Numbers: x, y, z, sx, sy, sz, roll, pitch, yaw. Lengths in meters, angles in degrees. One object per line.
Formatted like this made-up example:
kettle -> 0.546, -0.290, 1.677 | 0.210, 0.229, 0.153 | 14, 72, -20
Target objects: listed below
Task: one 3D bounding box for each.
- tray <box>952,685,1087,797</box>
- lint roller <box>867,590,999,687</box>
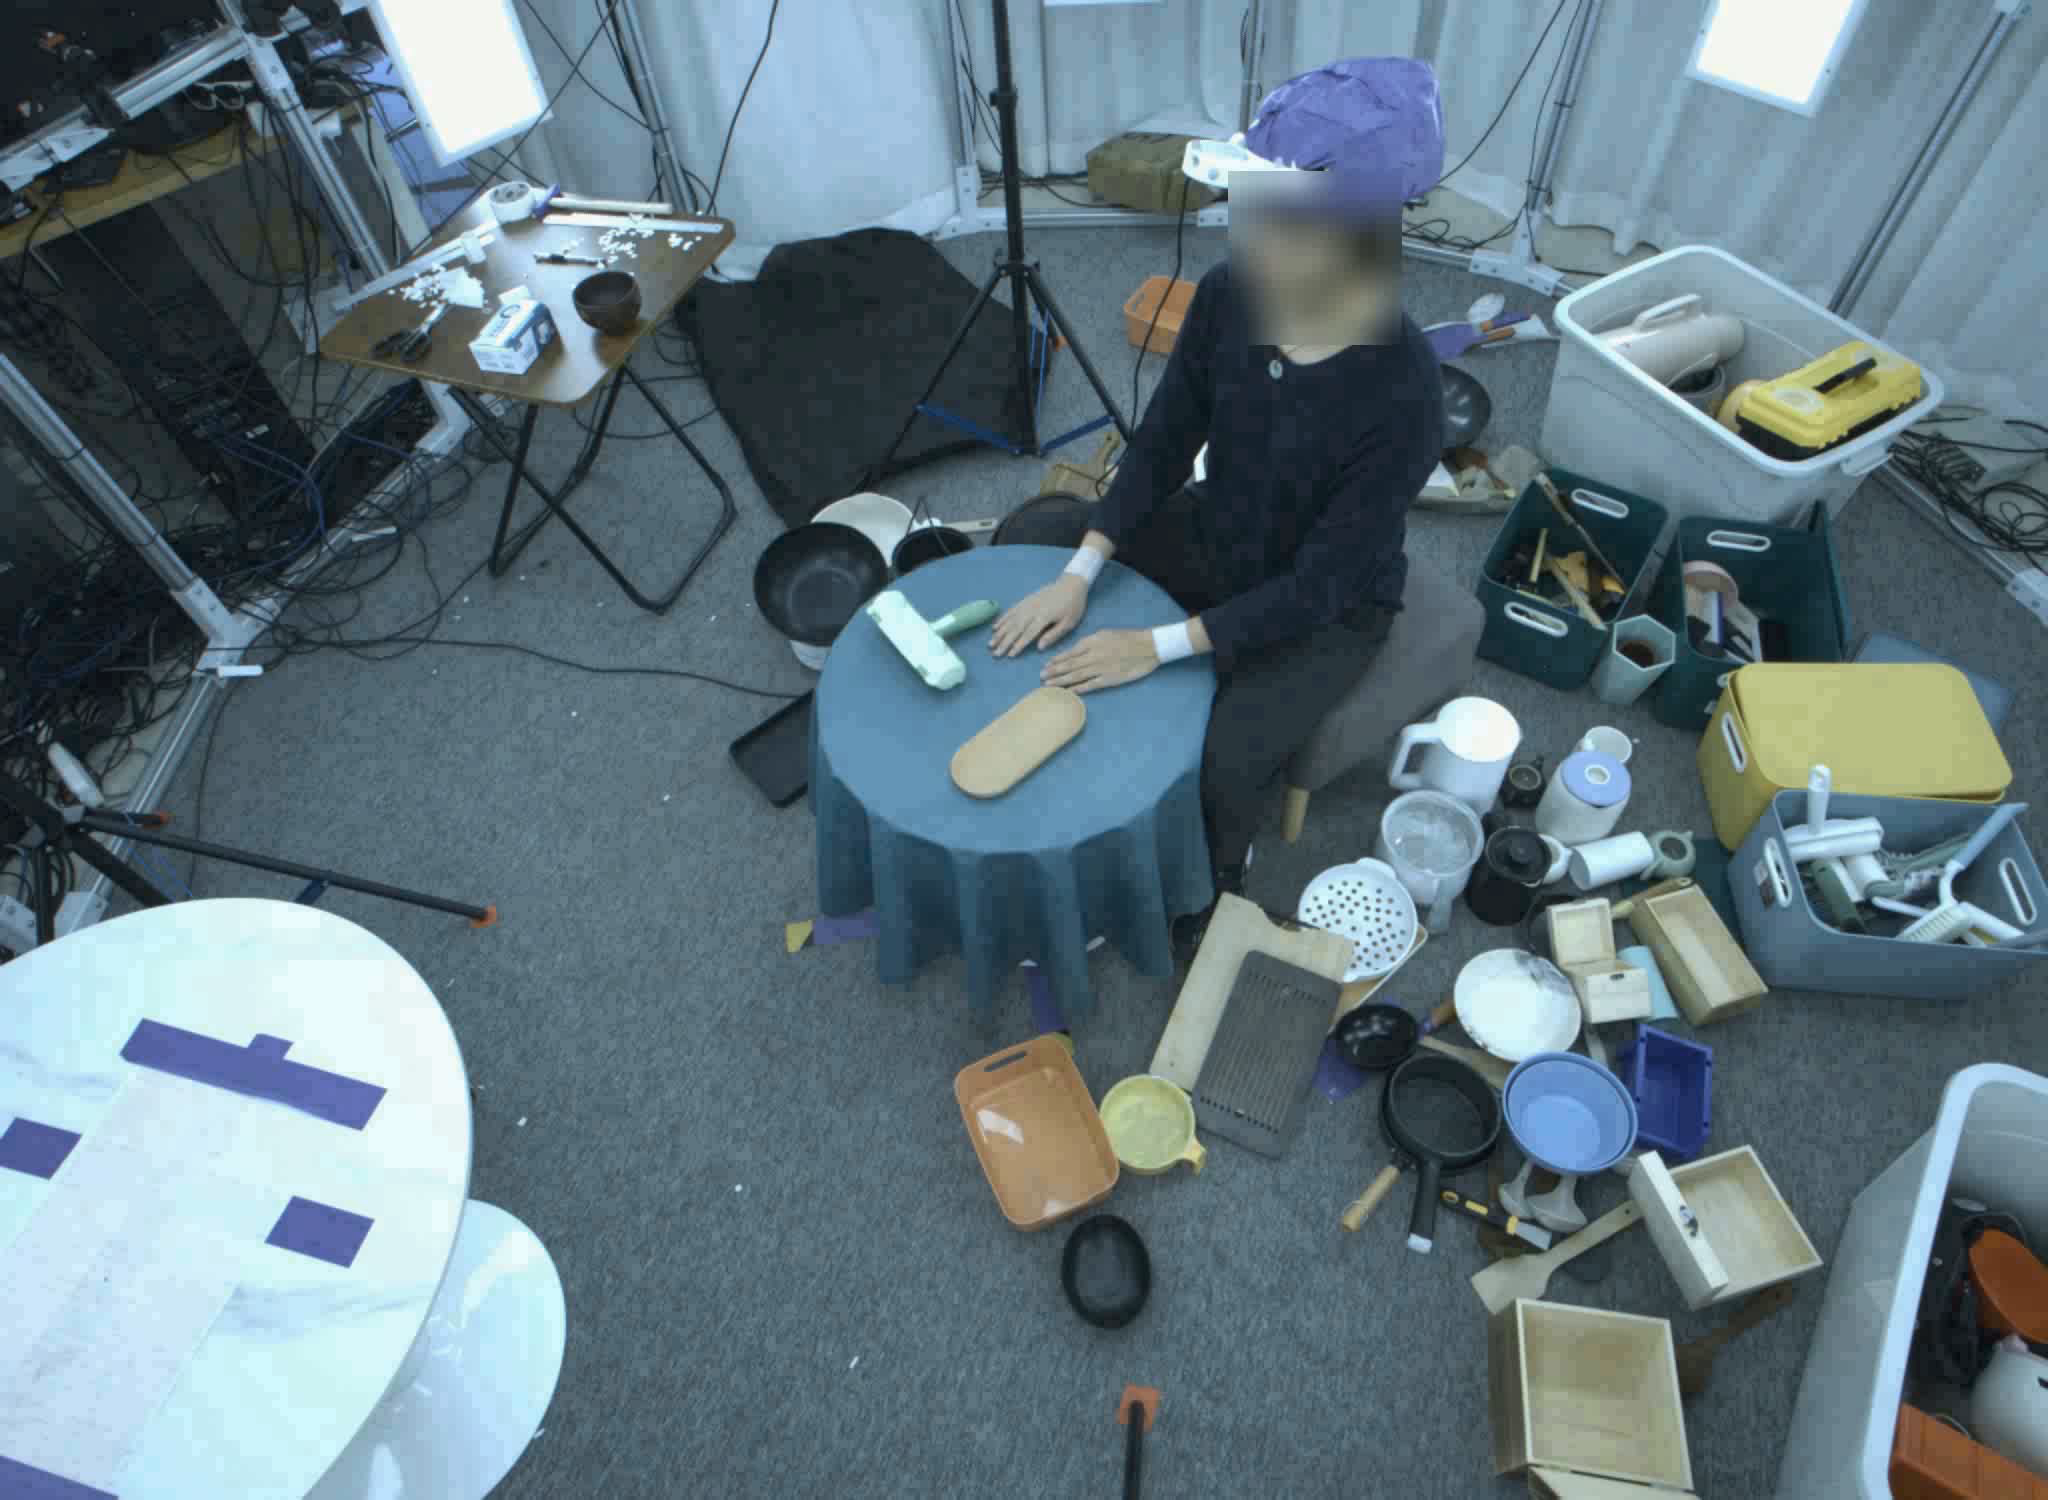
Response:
tray -> -0.005, -0.014, 1.788 | 0.233, 0.020, 0.100 | -38, 63, -24
lint roller -> -0.119, -0.206, 1.883 | 0.184, 0.083, 0.195 | -35, 61, -13
